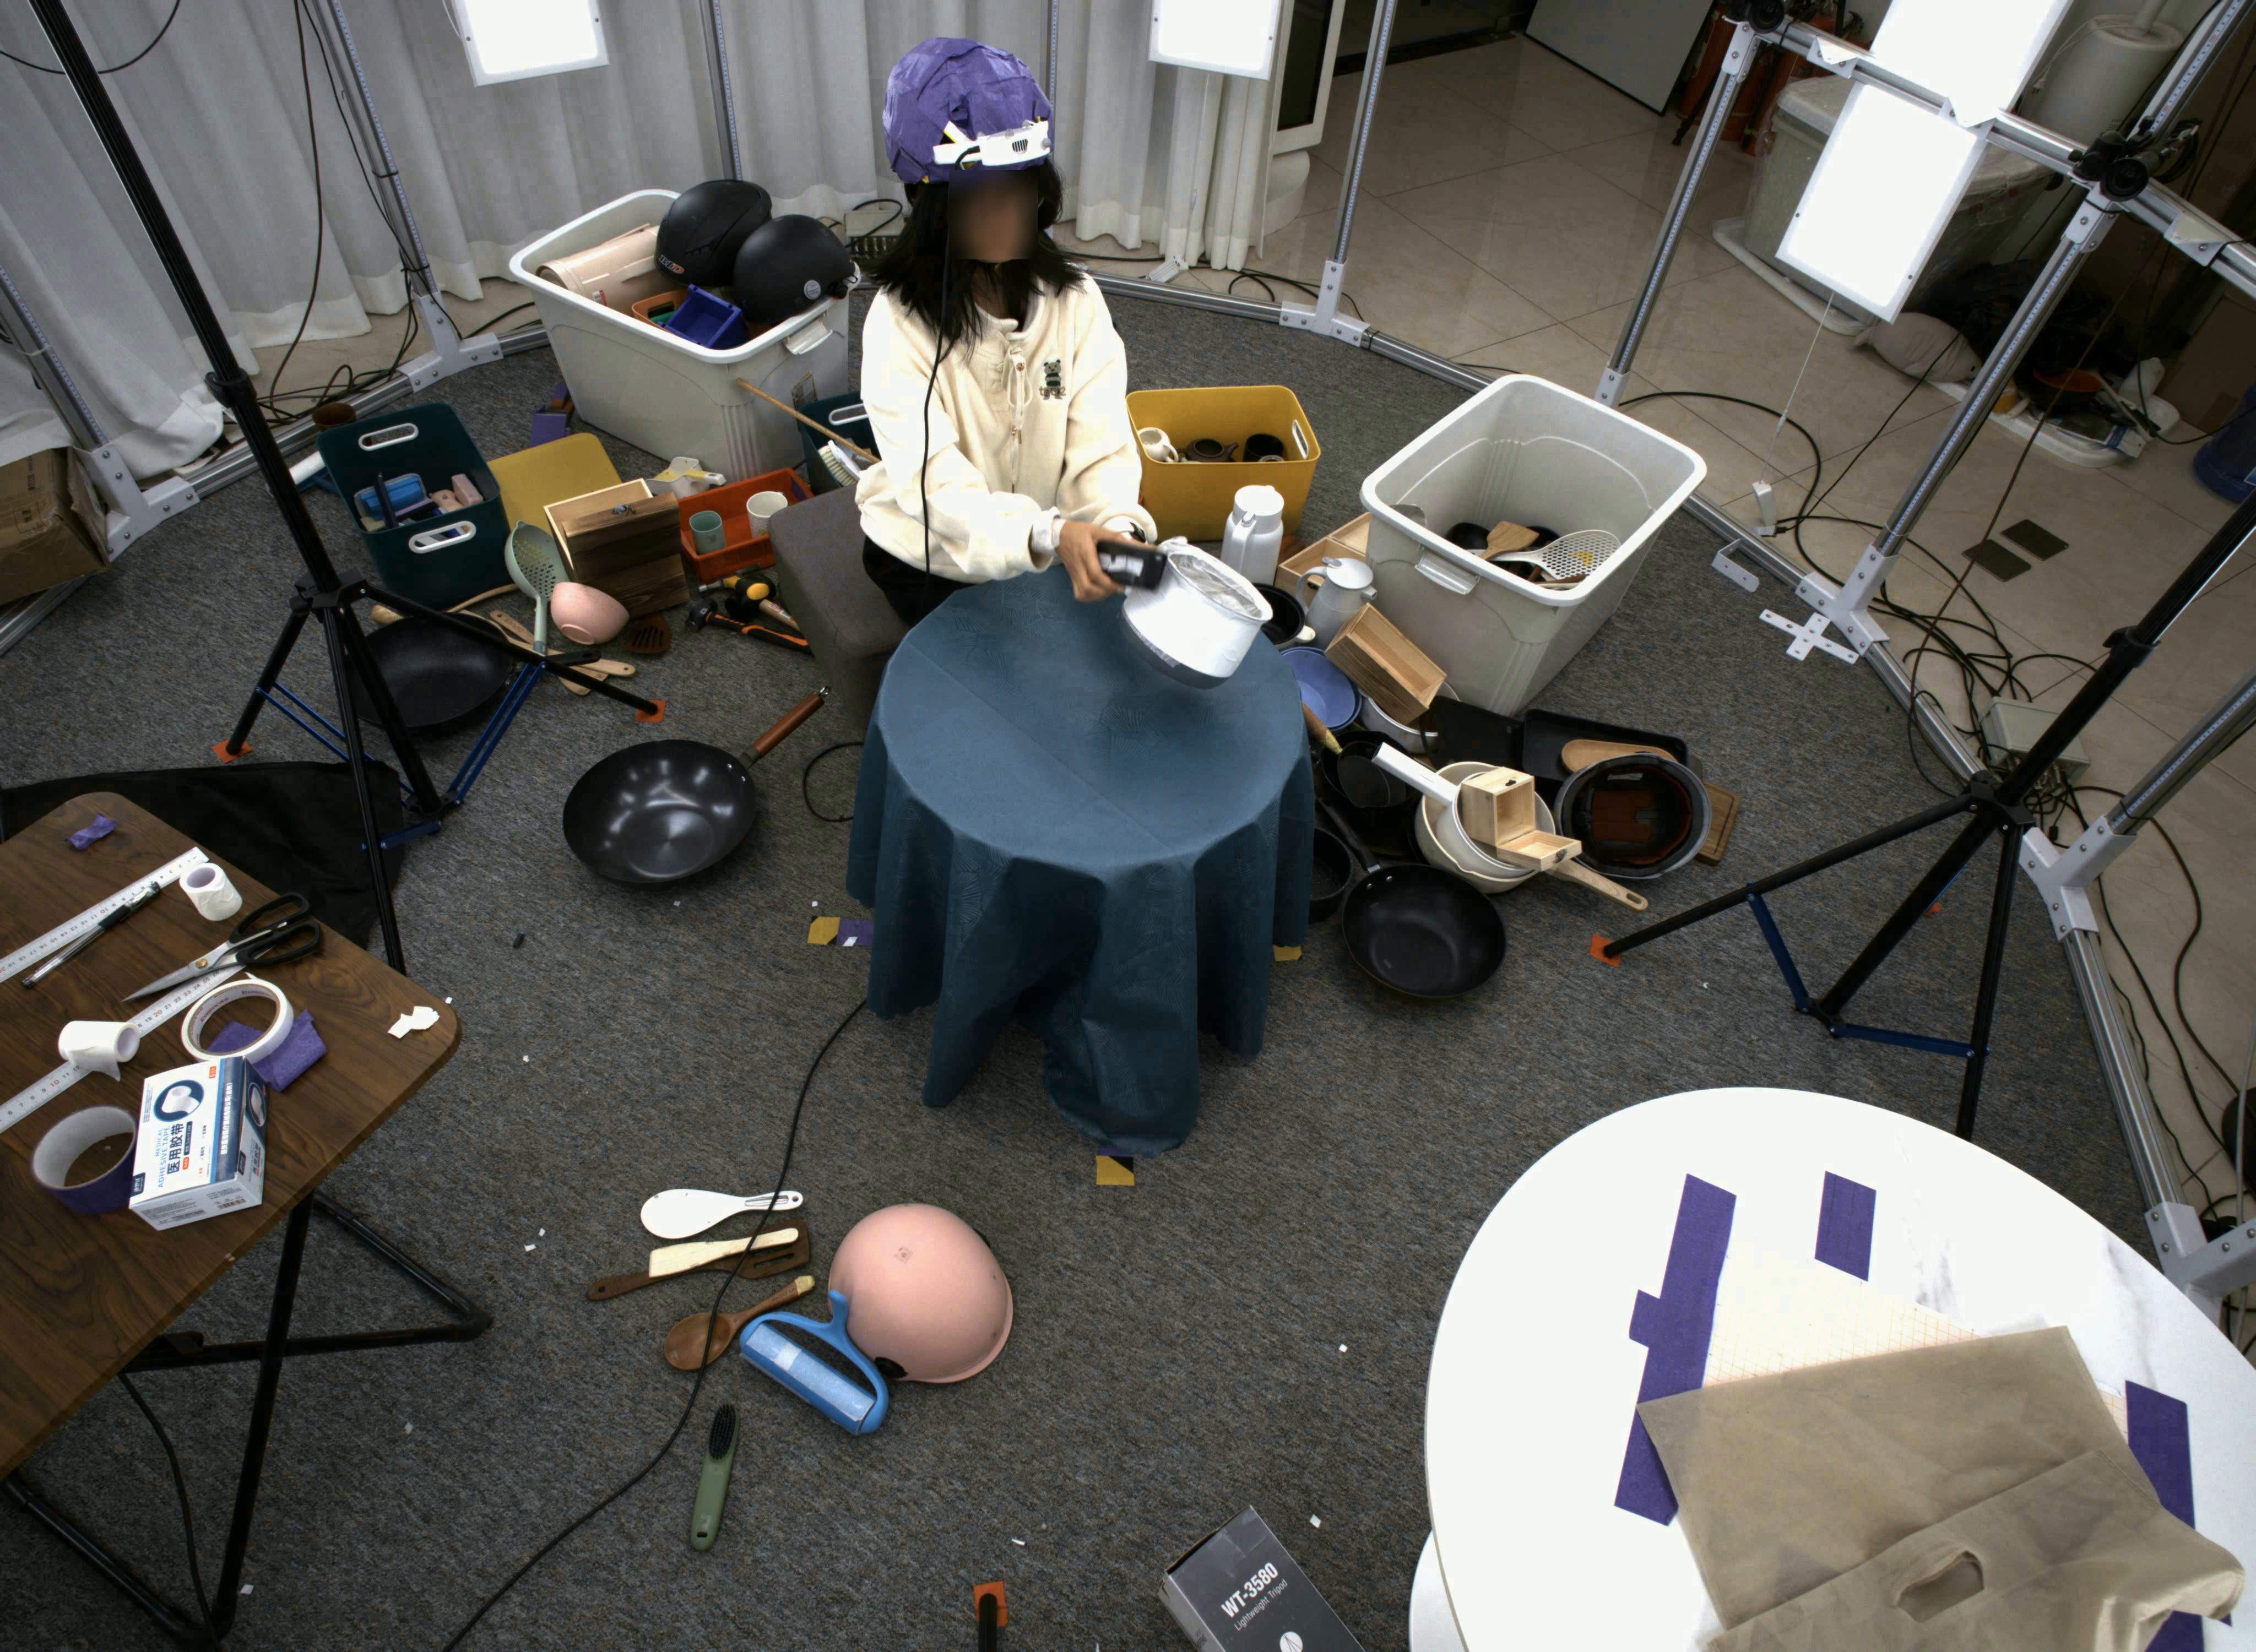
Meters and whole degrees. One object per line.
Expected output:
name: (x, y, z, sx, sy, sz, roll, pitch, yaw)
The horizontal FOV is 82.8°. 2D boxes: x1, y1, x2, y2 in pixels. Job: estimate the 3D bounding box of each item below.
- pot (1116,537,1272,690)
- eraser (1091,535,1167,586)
pot: (0.074, -0.299, 1.754, 0.177, 0.135, 0.239, 10, 35, -42)
eraser: (0.001, -0.344, 1.663, 0.030, 0.053, 0.127, 10, 8, -36)
